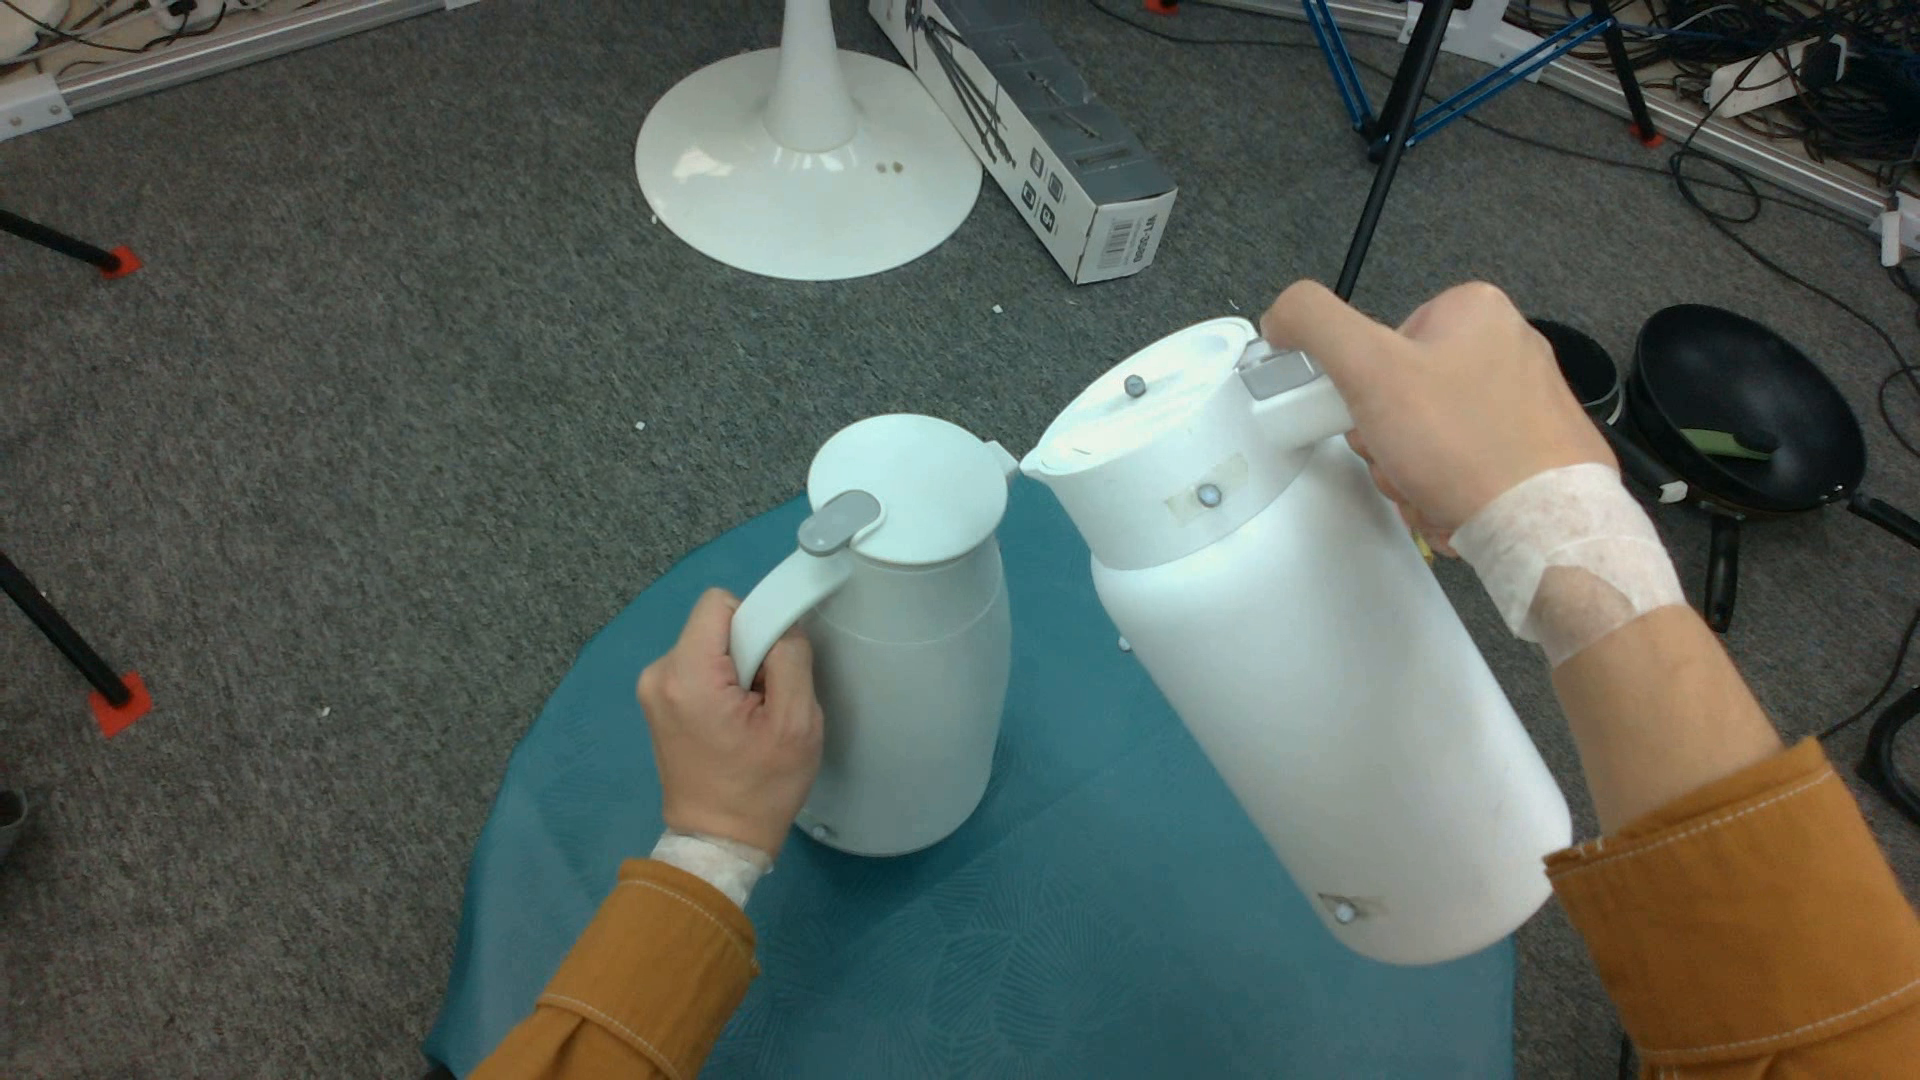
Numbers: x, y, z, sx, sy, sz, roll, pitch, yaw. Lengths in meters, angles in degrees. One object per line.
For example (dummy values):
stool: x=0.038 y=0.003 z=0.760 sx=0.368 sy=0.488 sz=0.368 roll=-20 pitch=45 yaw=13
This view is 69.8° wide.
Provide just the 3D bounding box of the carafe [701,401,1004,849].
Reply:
carafe: x=-0.054 y=0.053 z=0.703 sx=0.168 sy=0.247 sz=0.132 roll=-32 pitch=61 yaw=-28

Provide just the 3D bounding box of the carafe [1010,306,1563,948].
carafe: x=0.153 y=0.035 z=0.559 sx=0.268 sy=0.172 sz=0.124 roll=56 pitch=45 yaw=-18
